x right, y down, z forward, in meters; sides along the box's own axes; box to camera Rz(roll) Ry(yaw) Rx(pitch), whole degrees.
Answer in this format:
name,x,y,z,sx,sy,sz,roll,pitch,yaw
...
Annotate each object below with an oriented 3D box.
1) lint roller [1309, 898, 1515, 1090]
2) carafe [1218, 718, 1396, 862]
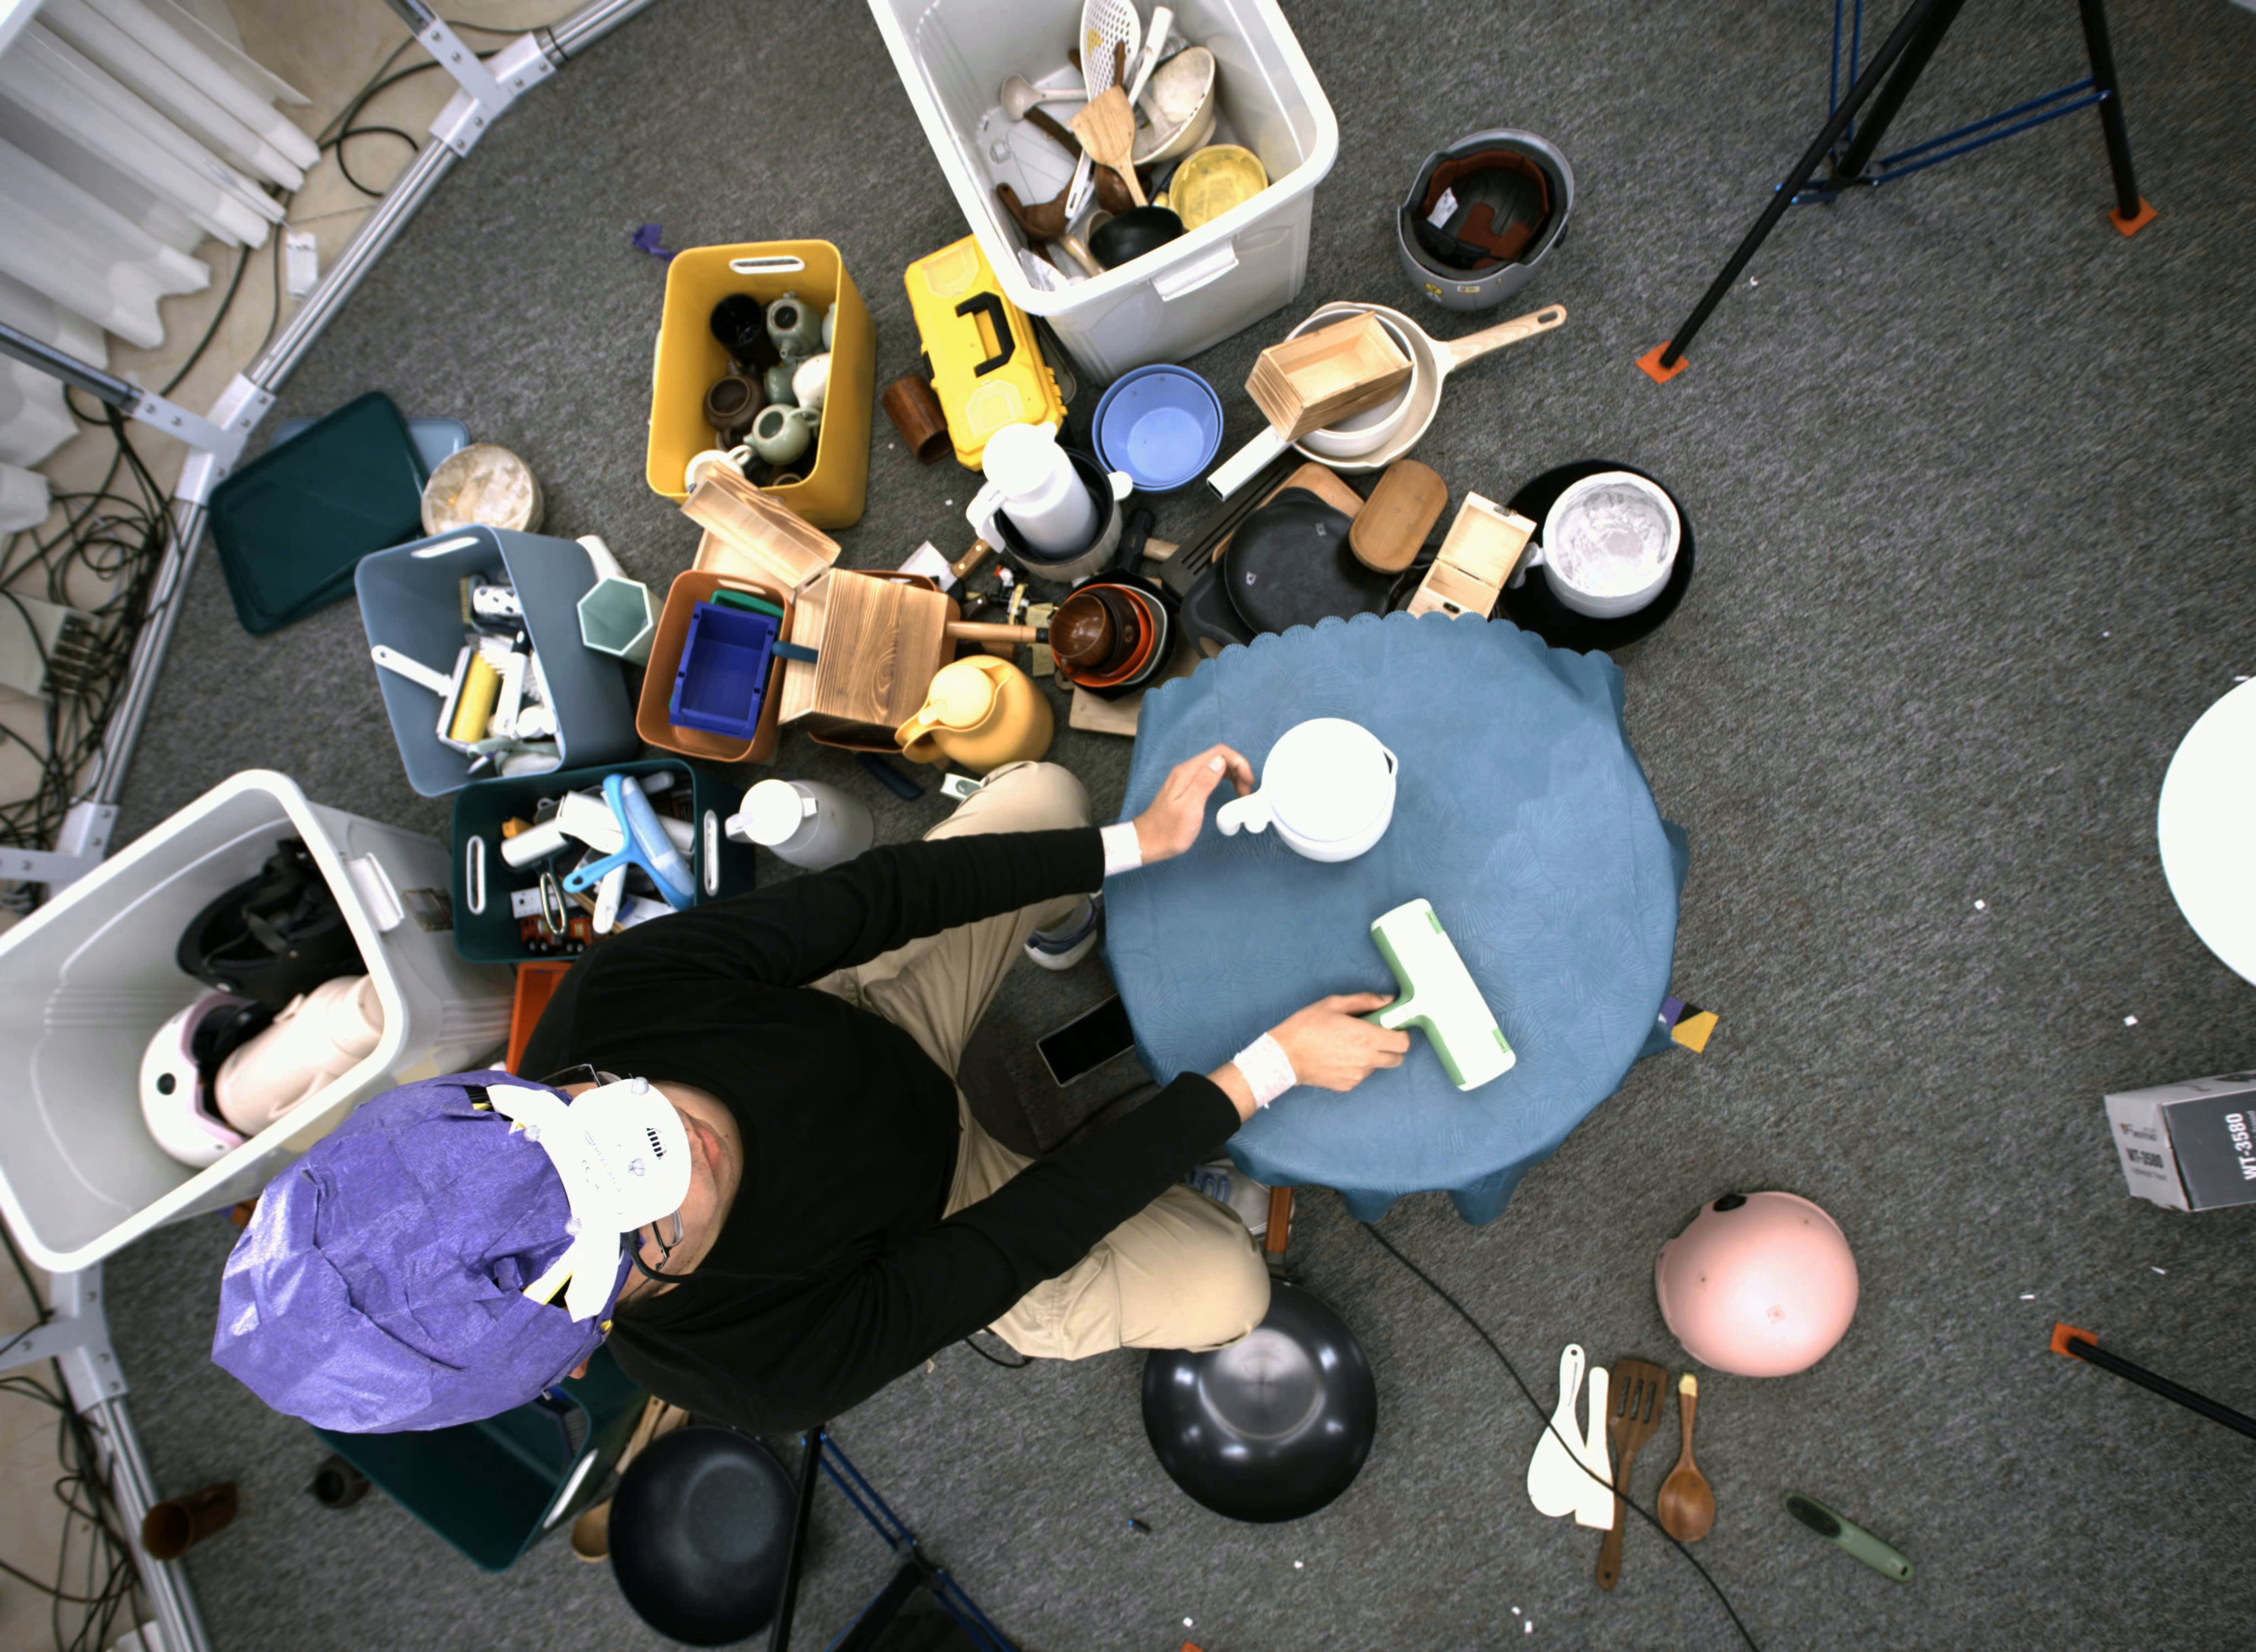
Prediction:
name,x,y,z,sx,sy,sz,roll,pitch,yaw
lint roller,0.269,0.195,1.409,0.183,0.083,0.197,-27,80,-1
carafe,0.180,-0.028,1.395,0.192,0.182,0.131,-19,81,10
